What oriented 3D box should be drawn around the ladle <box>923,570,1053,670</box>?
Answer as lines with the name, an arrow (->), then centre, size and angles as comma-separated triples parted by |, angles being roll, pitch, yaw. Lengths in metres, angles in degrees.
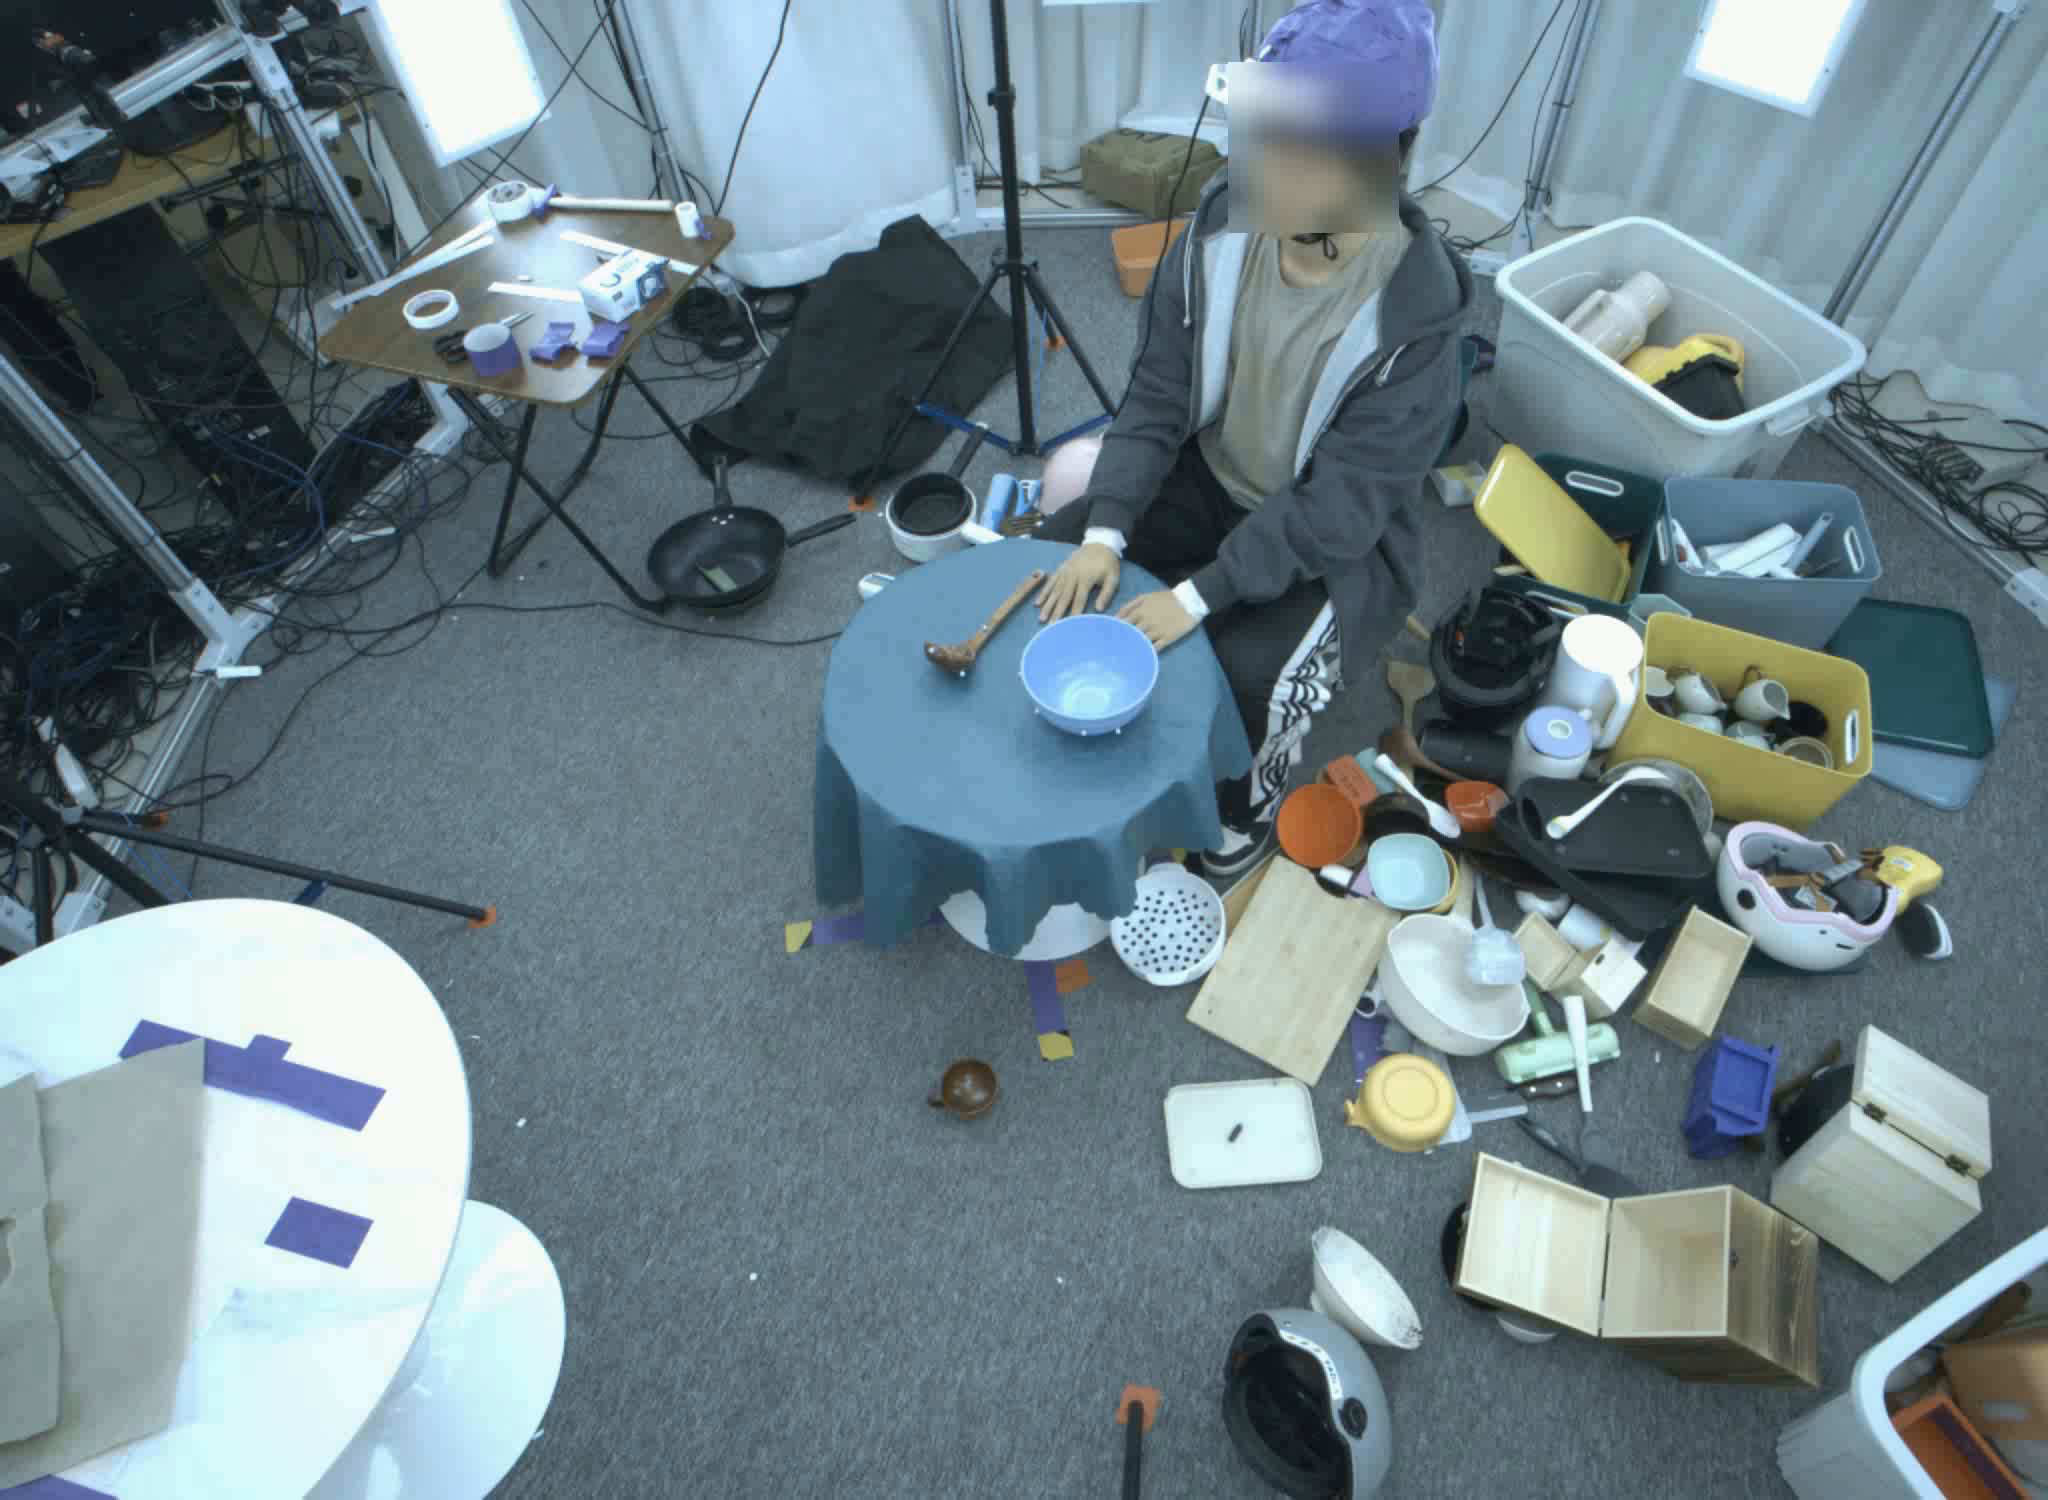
ladle -> -0.051, -0.217, 1.897 | 0.080, 0.077, 0.275 | 29, 61, 25

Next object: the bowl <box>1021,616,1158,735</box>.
bowl -> 0.095, -0.094, 1.796 | 0.196, 0.096, 0.194 | 0, 53, 2
